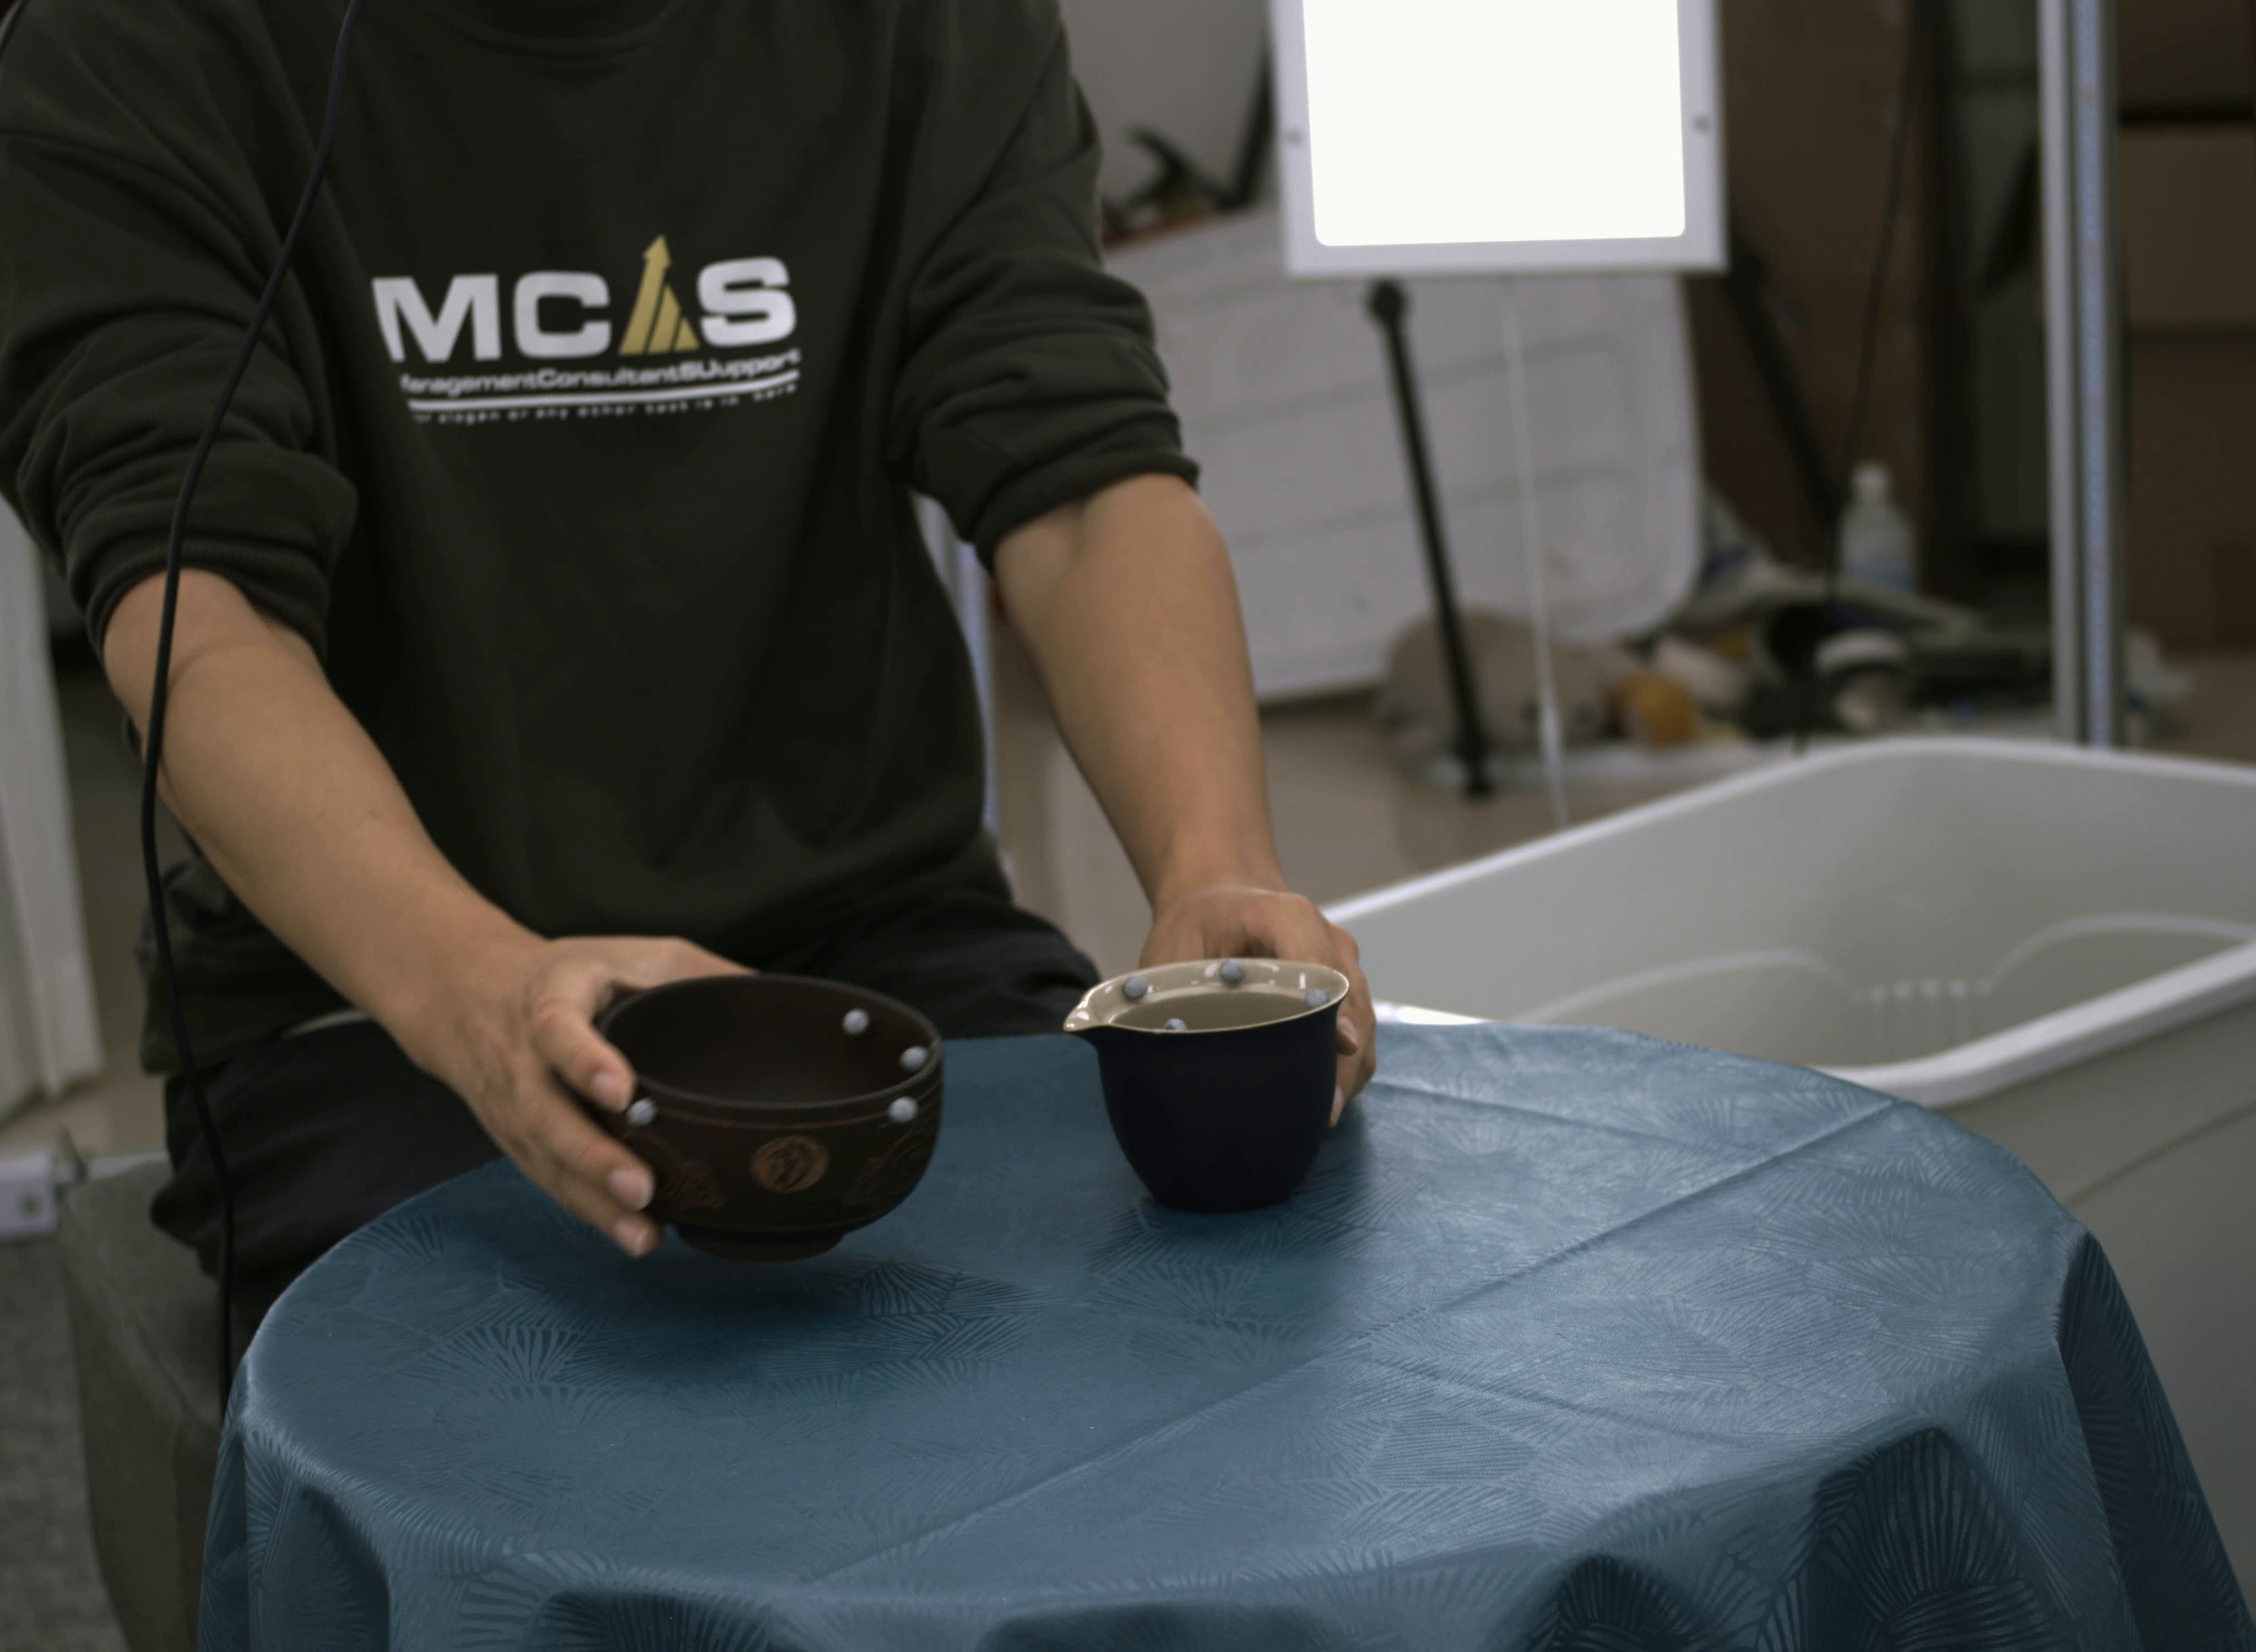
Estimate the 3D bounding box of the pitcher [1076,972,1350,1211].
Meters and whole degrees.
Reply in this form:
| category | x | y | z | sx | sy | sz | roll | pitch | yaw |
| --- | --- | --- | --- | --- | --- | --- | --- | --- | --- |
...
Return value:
| category | x | y | z | sx | sy | sz | roll | pitch | yaw |
| --- | --- | --- | --- | --- | --- | --- | --- | --- | --- |
| pitcher | 0.031 | 0.091 | 1.882 | 0.095 | 0.071 | 0.084 | -9 | 16 | -12 |

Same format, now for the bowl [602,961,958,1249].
| category | x | y | z | sx | sy | sz | roll | pitch | yaw |
| --- | --- | --- | --- | --- | --- | --- | --- | --- | --- |
| bowl | -0.116 | 0.097 | 1.821 | 0.117 | 0.070 | 0.118 | 3 | 19 | -2 |
